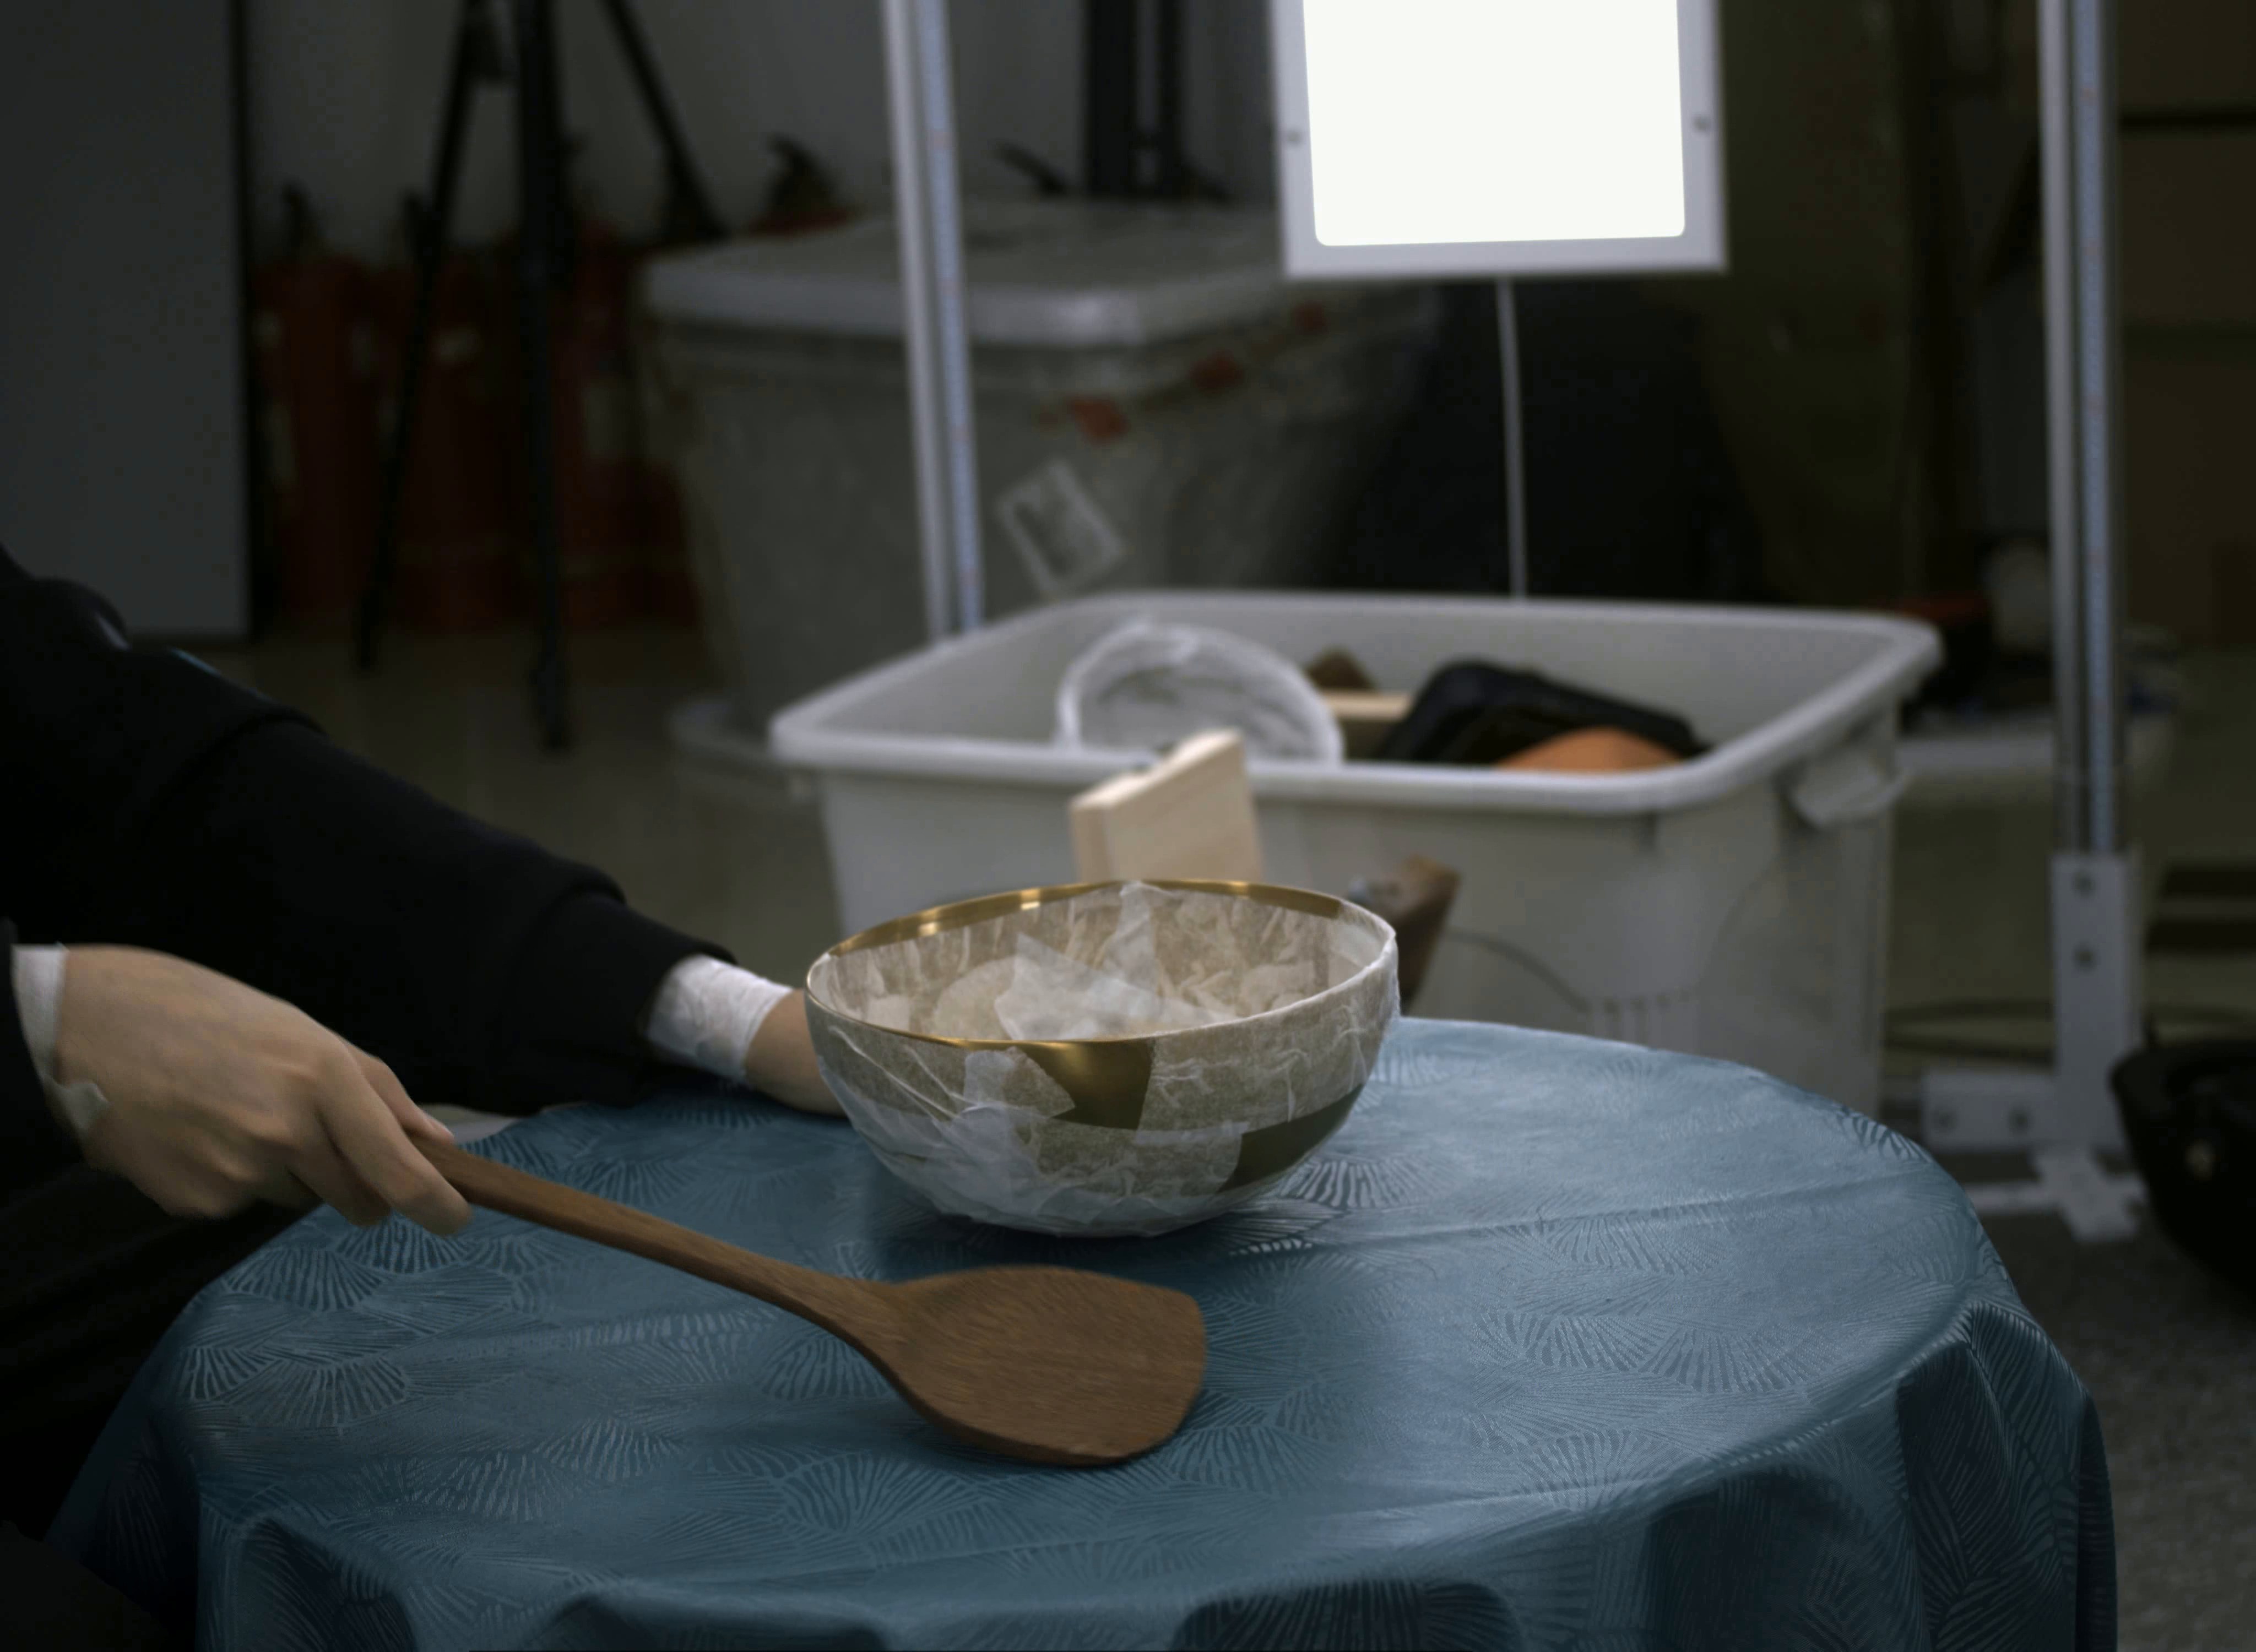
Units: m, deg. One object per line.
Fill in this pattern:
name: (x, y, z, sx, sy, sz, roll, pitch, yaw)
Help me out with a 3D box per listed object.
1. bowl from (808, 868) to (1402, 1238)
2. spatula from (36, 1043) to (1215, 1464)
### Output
bowl: (-0.007, 0.084, 1.873, 0.214, 0.095, 0.214, -6, 15, 0)
spatula: (-0.159, 0.125, 1.707, 0.388, 0.016, 0.094, 16, 30, 11)
